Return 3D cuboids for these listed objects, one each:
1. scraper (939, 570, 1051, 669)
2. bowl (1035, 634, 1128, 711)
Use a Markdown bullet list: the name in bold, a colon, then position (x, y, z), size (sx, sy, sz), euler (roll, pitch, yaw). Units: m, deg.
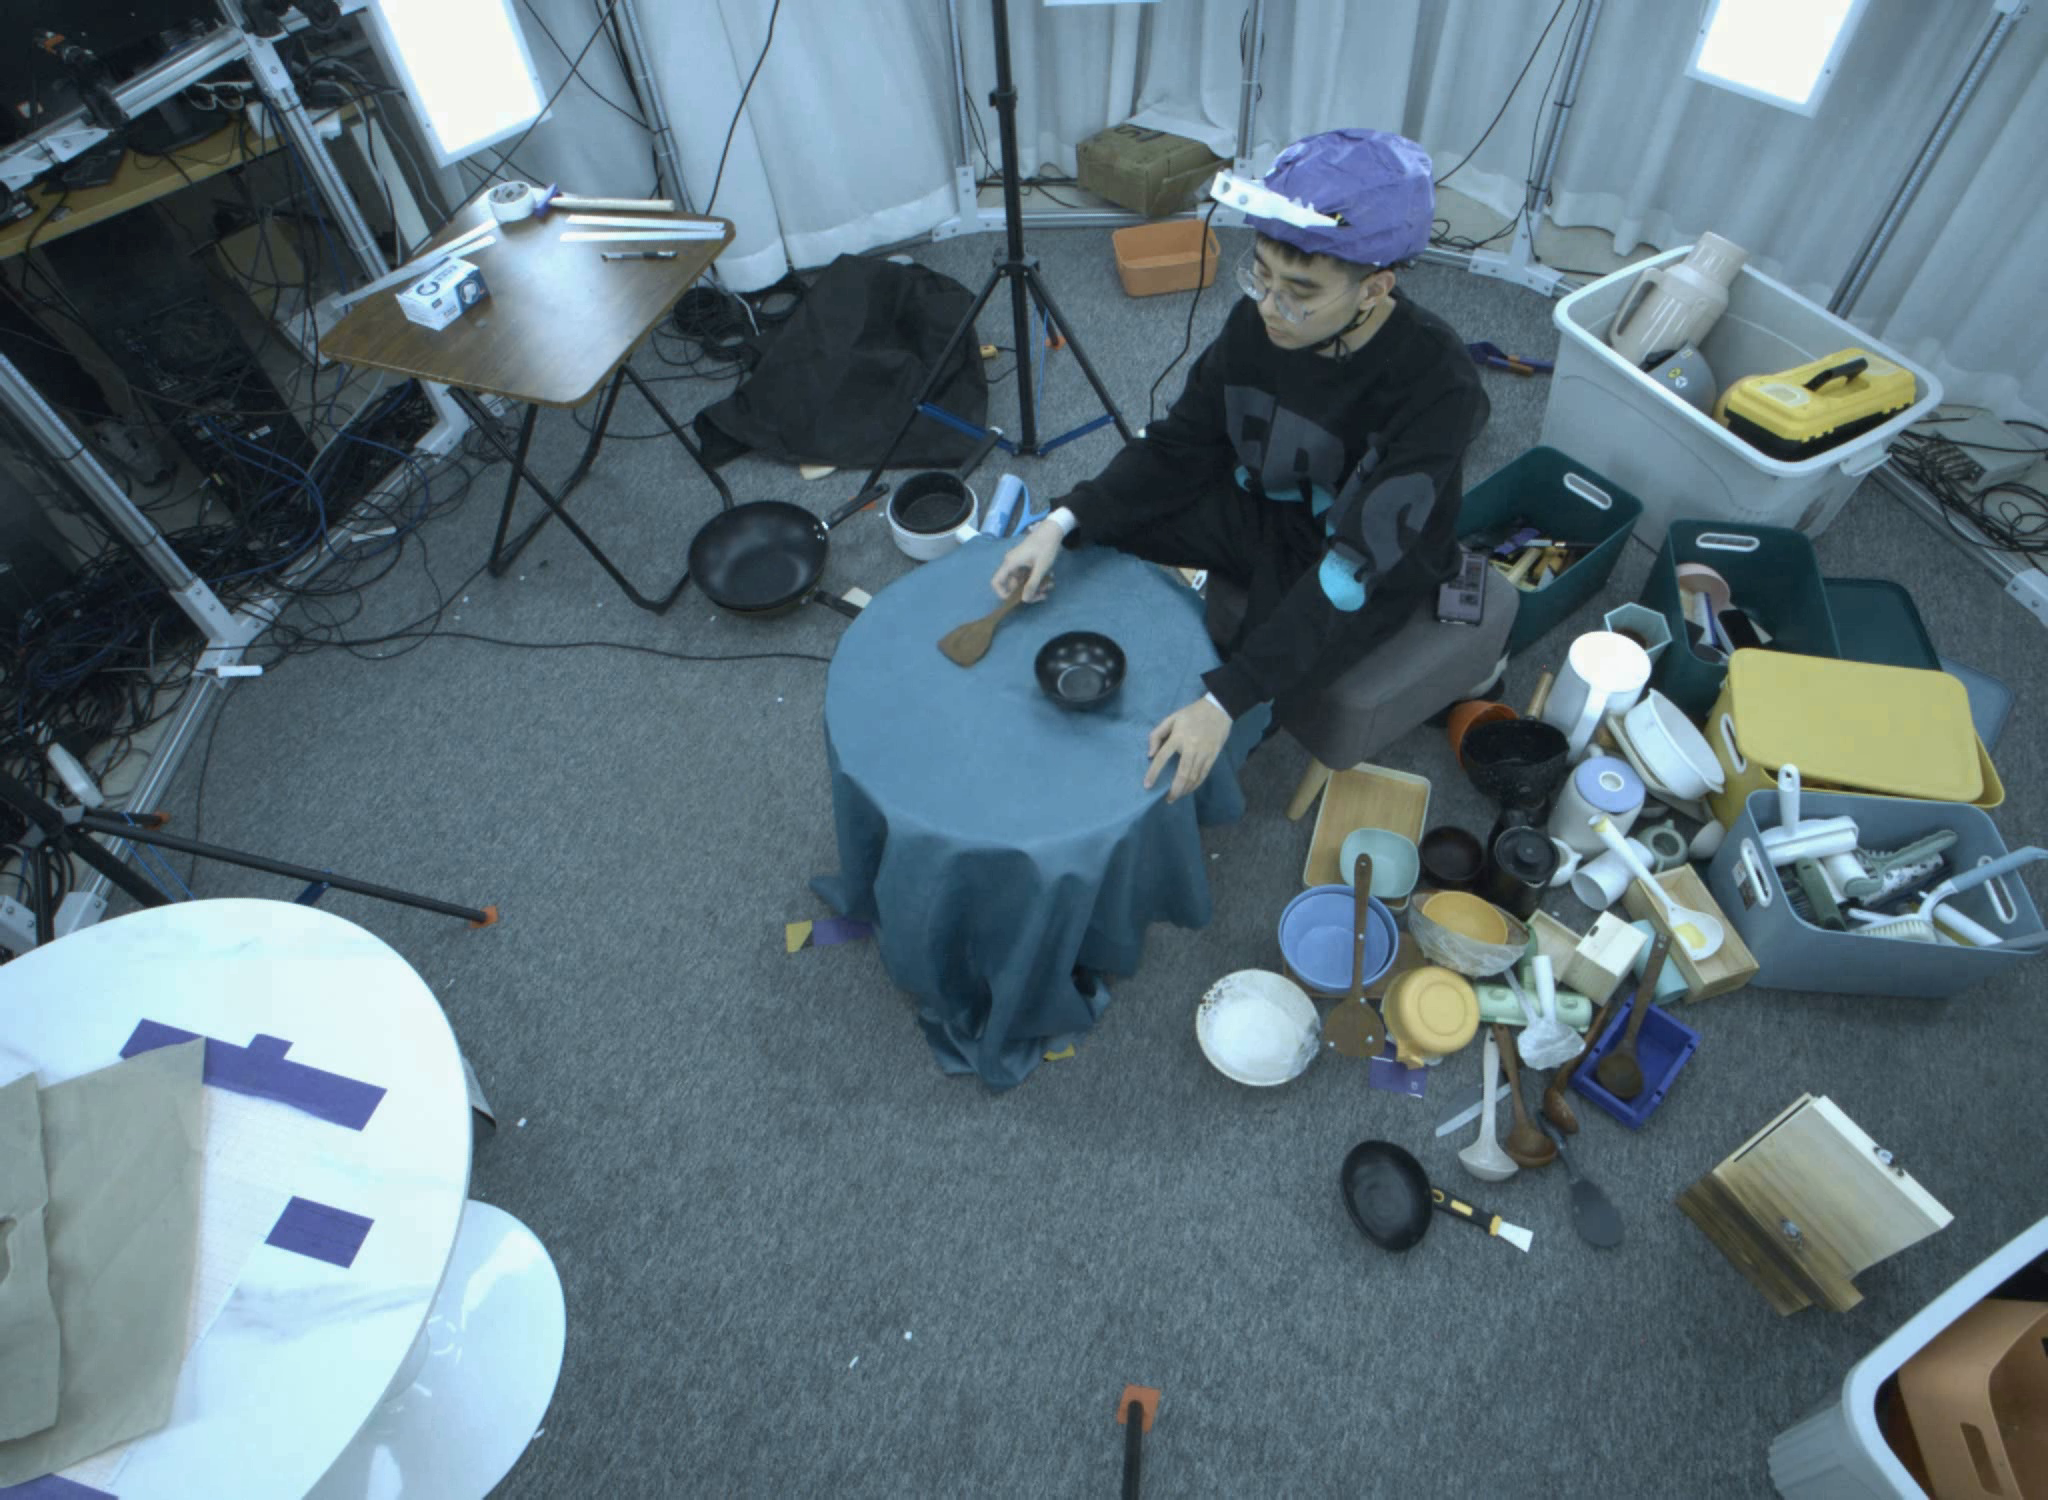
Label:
- **scraper**: position (-0.039, -0.209, 1.921), size (0.212, 0.011, 0.074), euler (-43, 66, -12)
- **bowl**: position (0.087, -0.107, 1.840), size (0.140, 0.050, 0.138), euler (-2, 53, 3)
